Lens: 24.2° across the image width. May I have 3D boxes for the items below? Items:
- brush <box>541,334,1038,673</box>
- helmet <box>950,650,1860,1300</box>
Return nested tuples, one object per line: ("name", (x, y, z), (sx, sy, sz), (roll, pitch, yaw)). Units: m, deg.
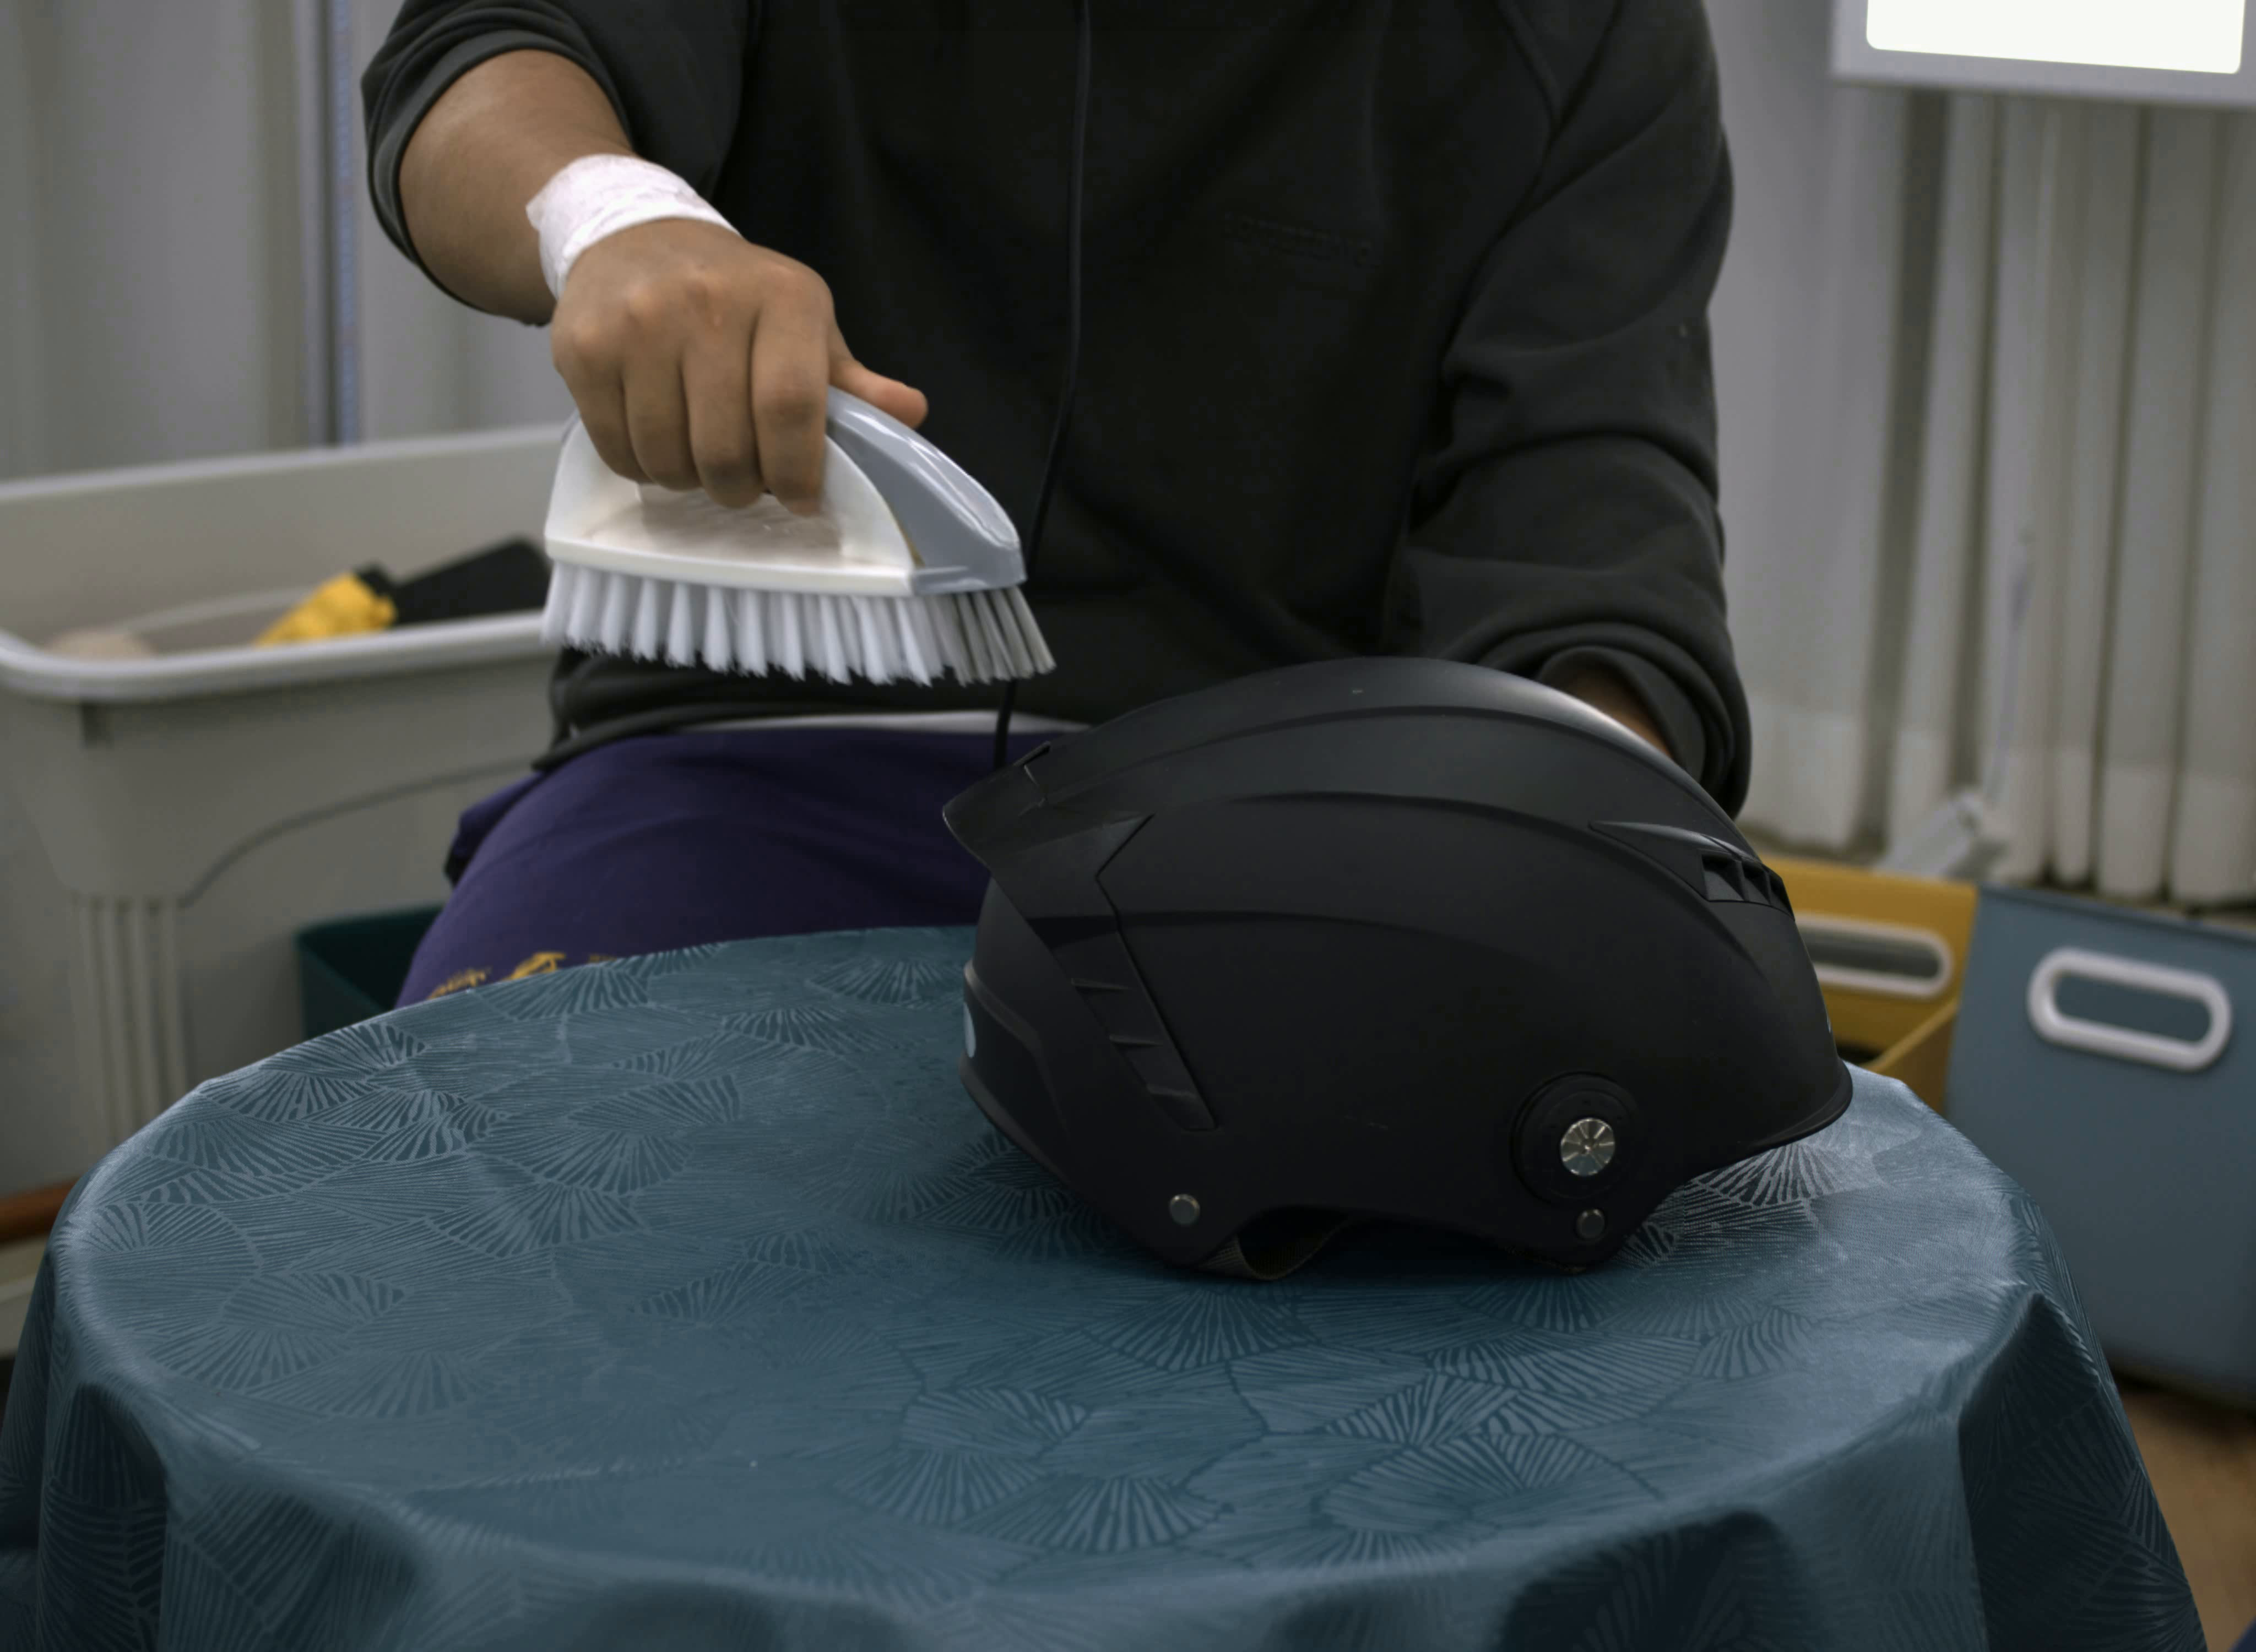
("brush", (-0.103, -0.100, 1.598), (0.173, 0.095, 0.061), (12, 29, 31))
("helmet", (0.082, 0.031, 1.619), (0.276, 0.174, 0.244), (-7, 18, -8))
